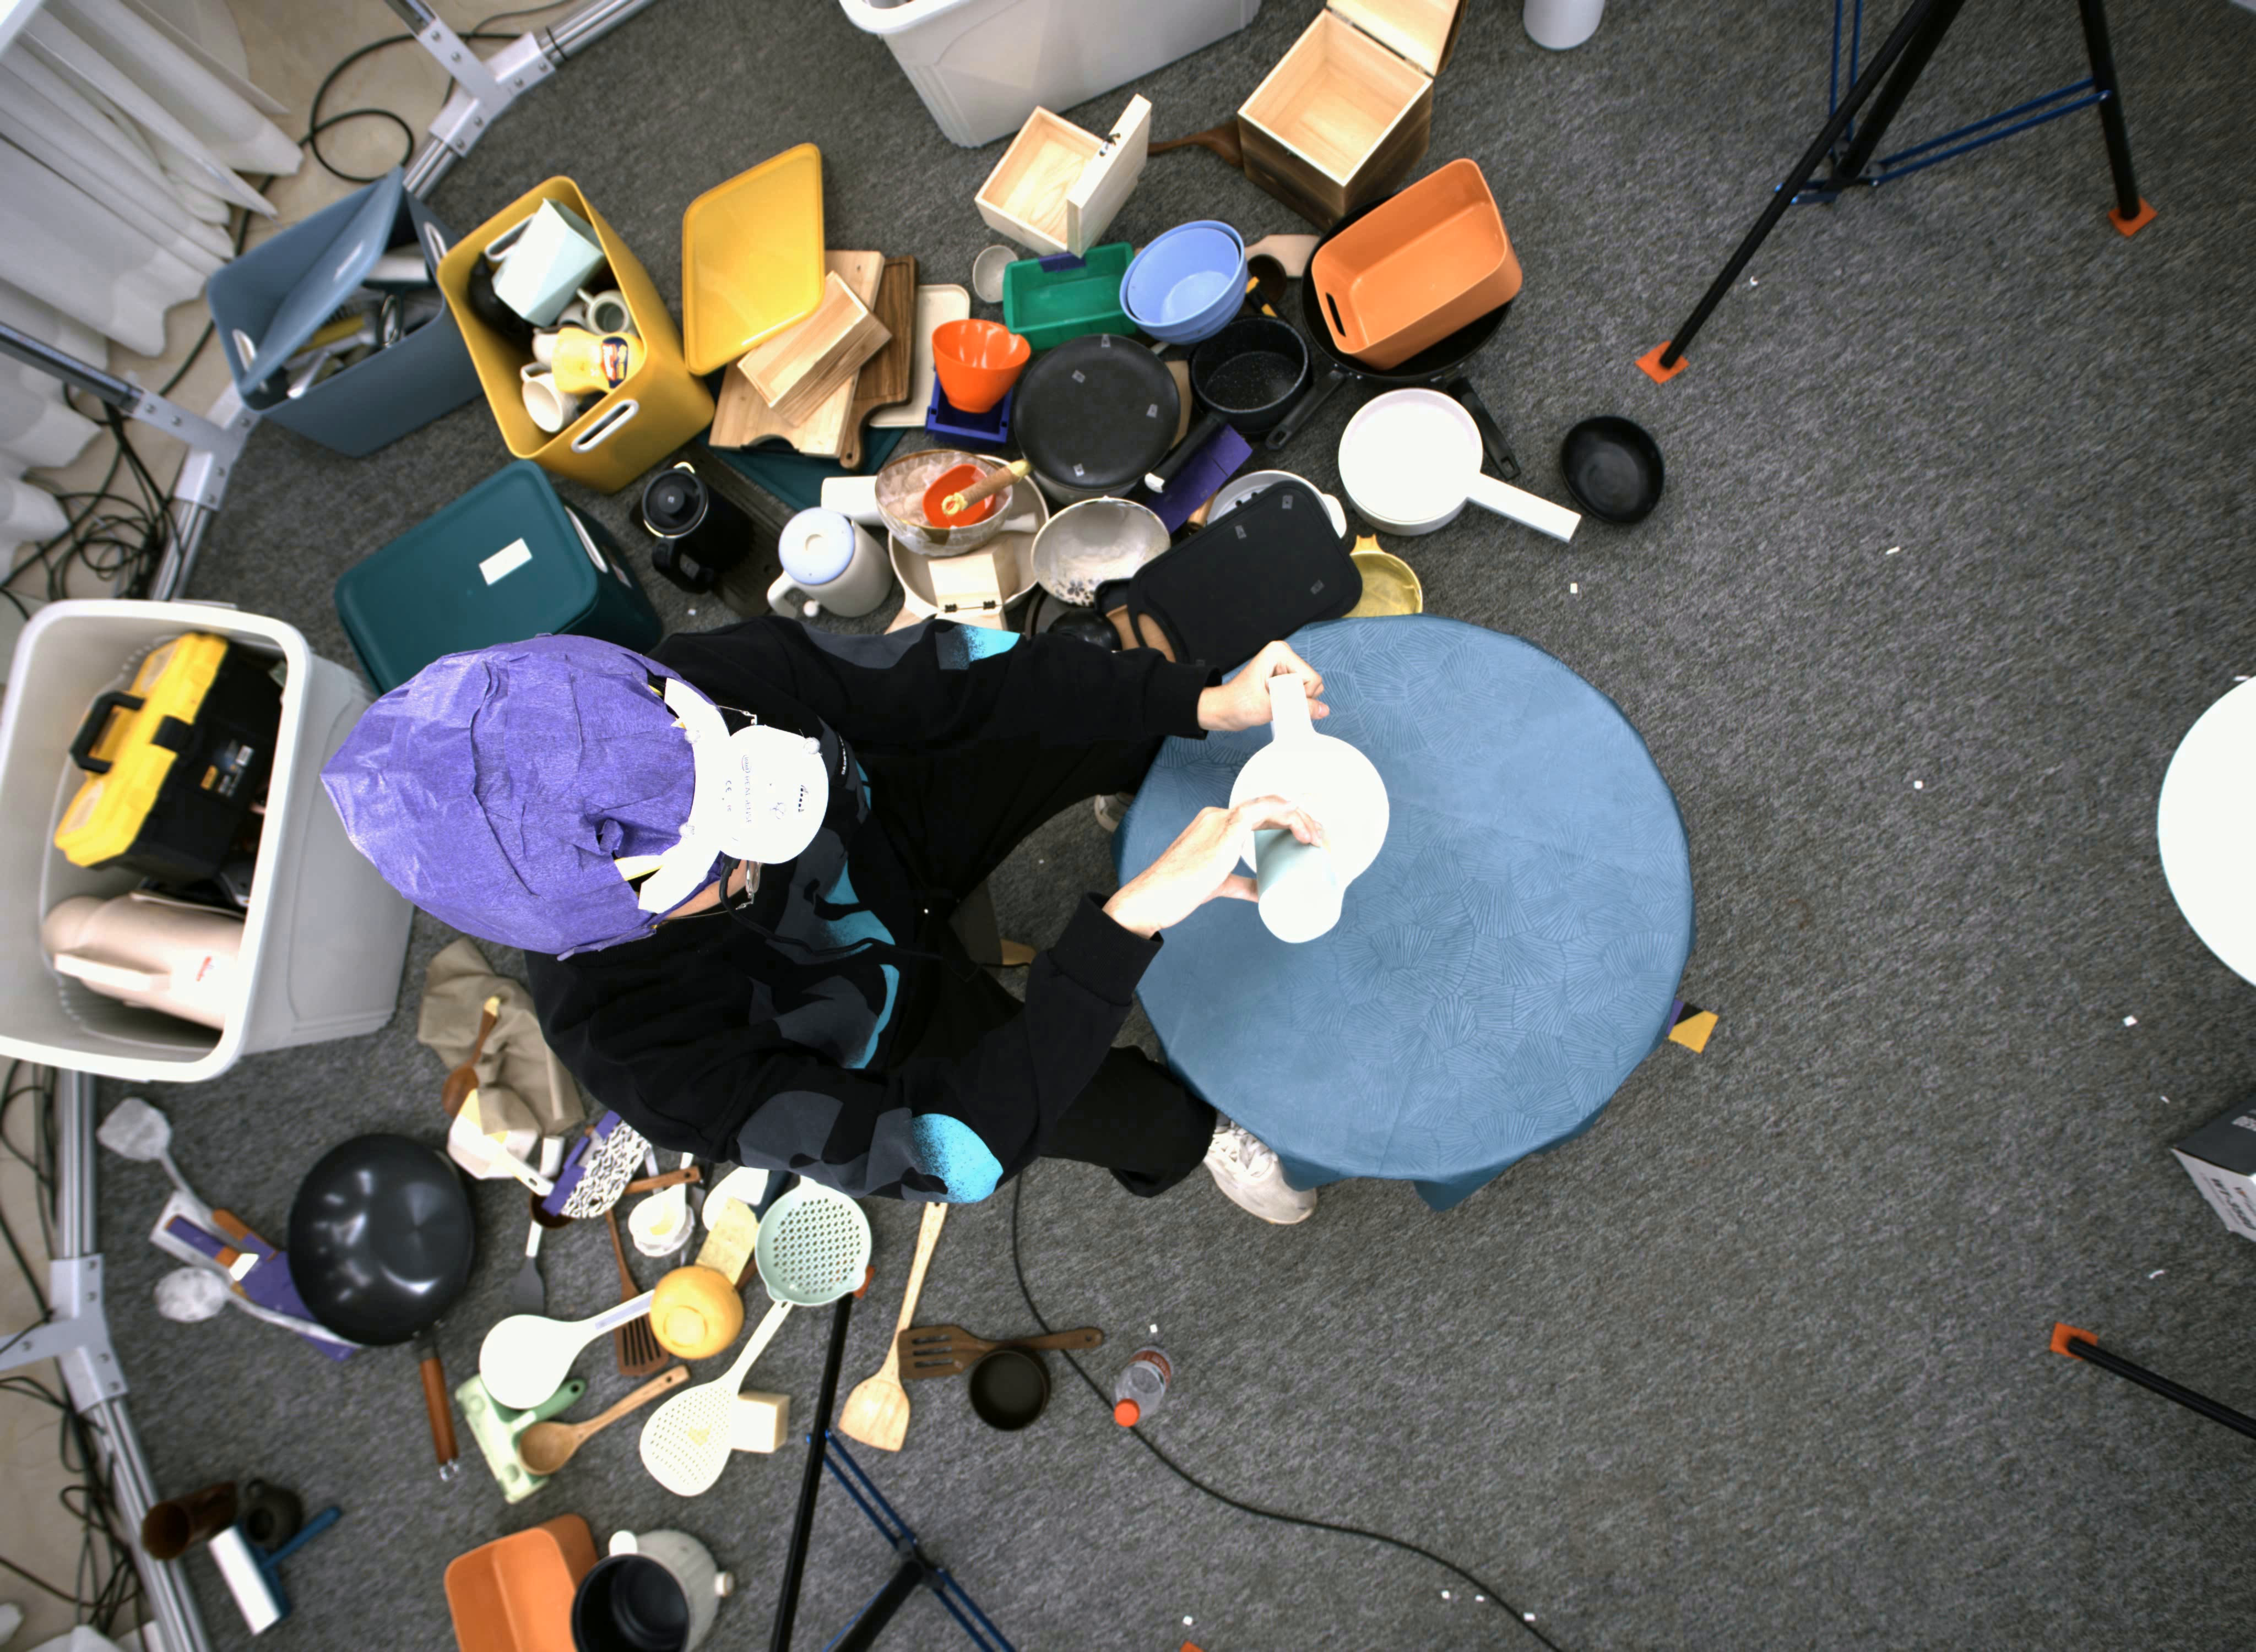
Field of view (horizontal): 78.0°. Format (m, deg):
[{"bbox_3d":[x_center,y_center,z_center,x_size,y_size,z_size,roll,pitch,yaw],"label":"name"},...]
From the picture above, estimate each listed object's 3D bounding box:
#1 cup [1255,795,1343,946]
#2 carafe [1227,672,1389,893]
[{"bbox_3d":[0.137,0.035,1.127,0.067,0.129,0.068,2,121,3],"label":"cup"},{"bbox_3d":[0.169,-0.038,1.346,0.152,0.239,0.213,-8,91,4],"label":"carafe"}]
